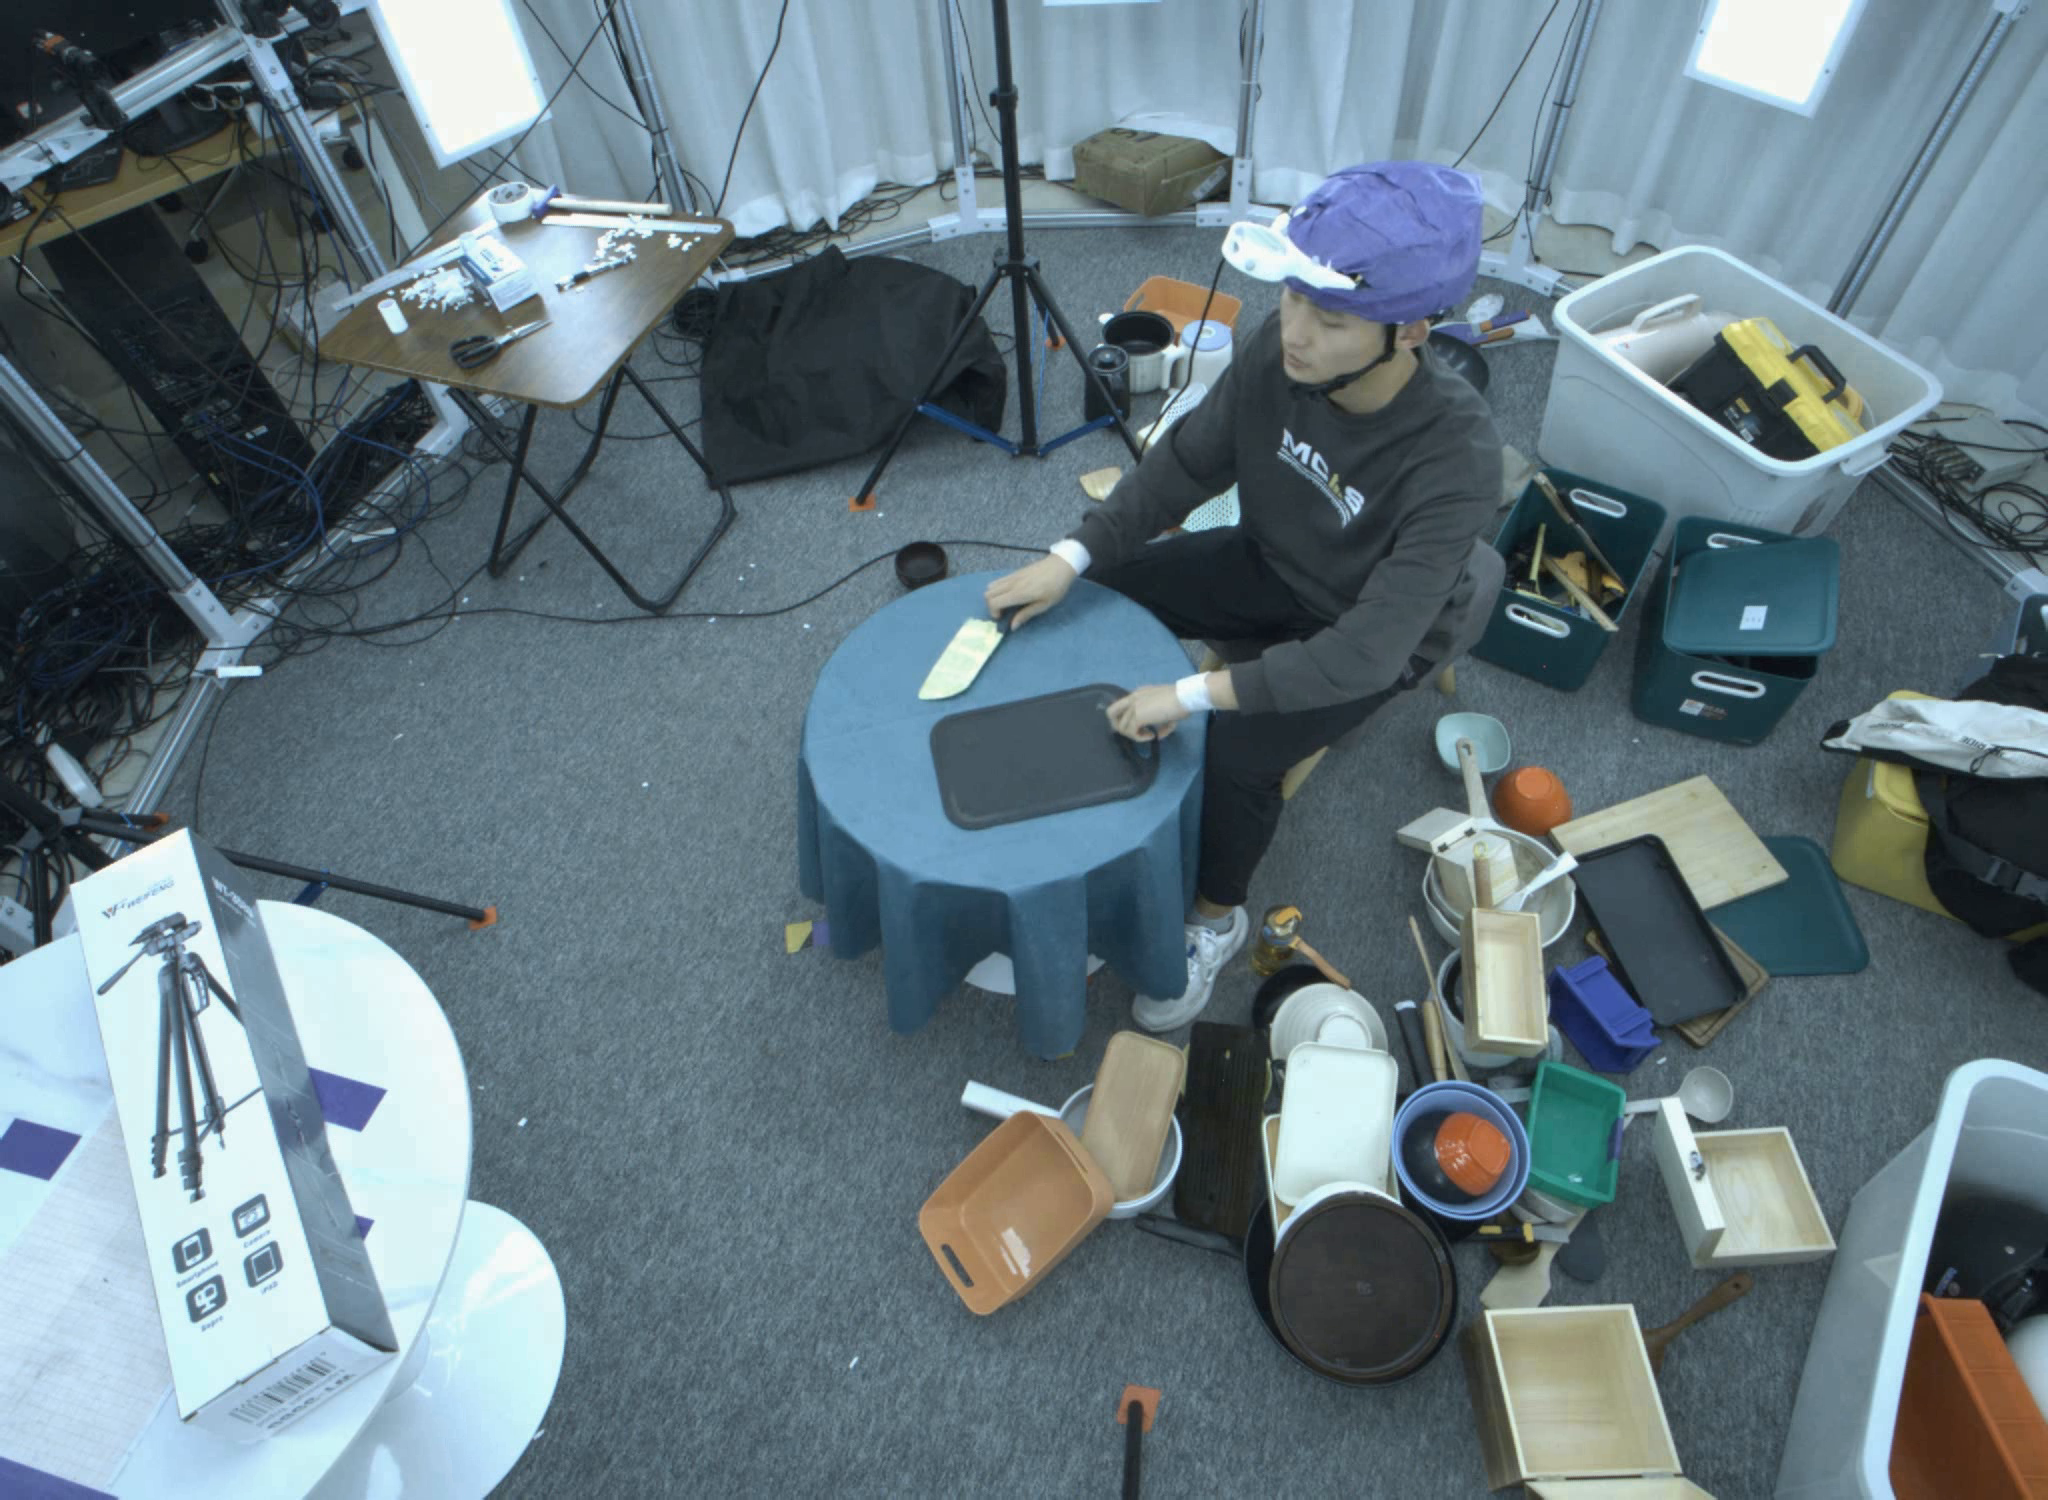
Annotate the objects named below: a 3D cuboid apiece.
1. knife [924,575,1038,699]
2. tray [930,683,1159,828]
[{"bbox_3d":[-0.066,-0.179,1.916,0.080,0.027,0.290,23,58,22],"label":"knife"},{"bbox_3d":[0.032,0.001,1.787,0.327,0.010,0.208,-11,55,-6],"label":"tray"}]
